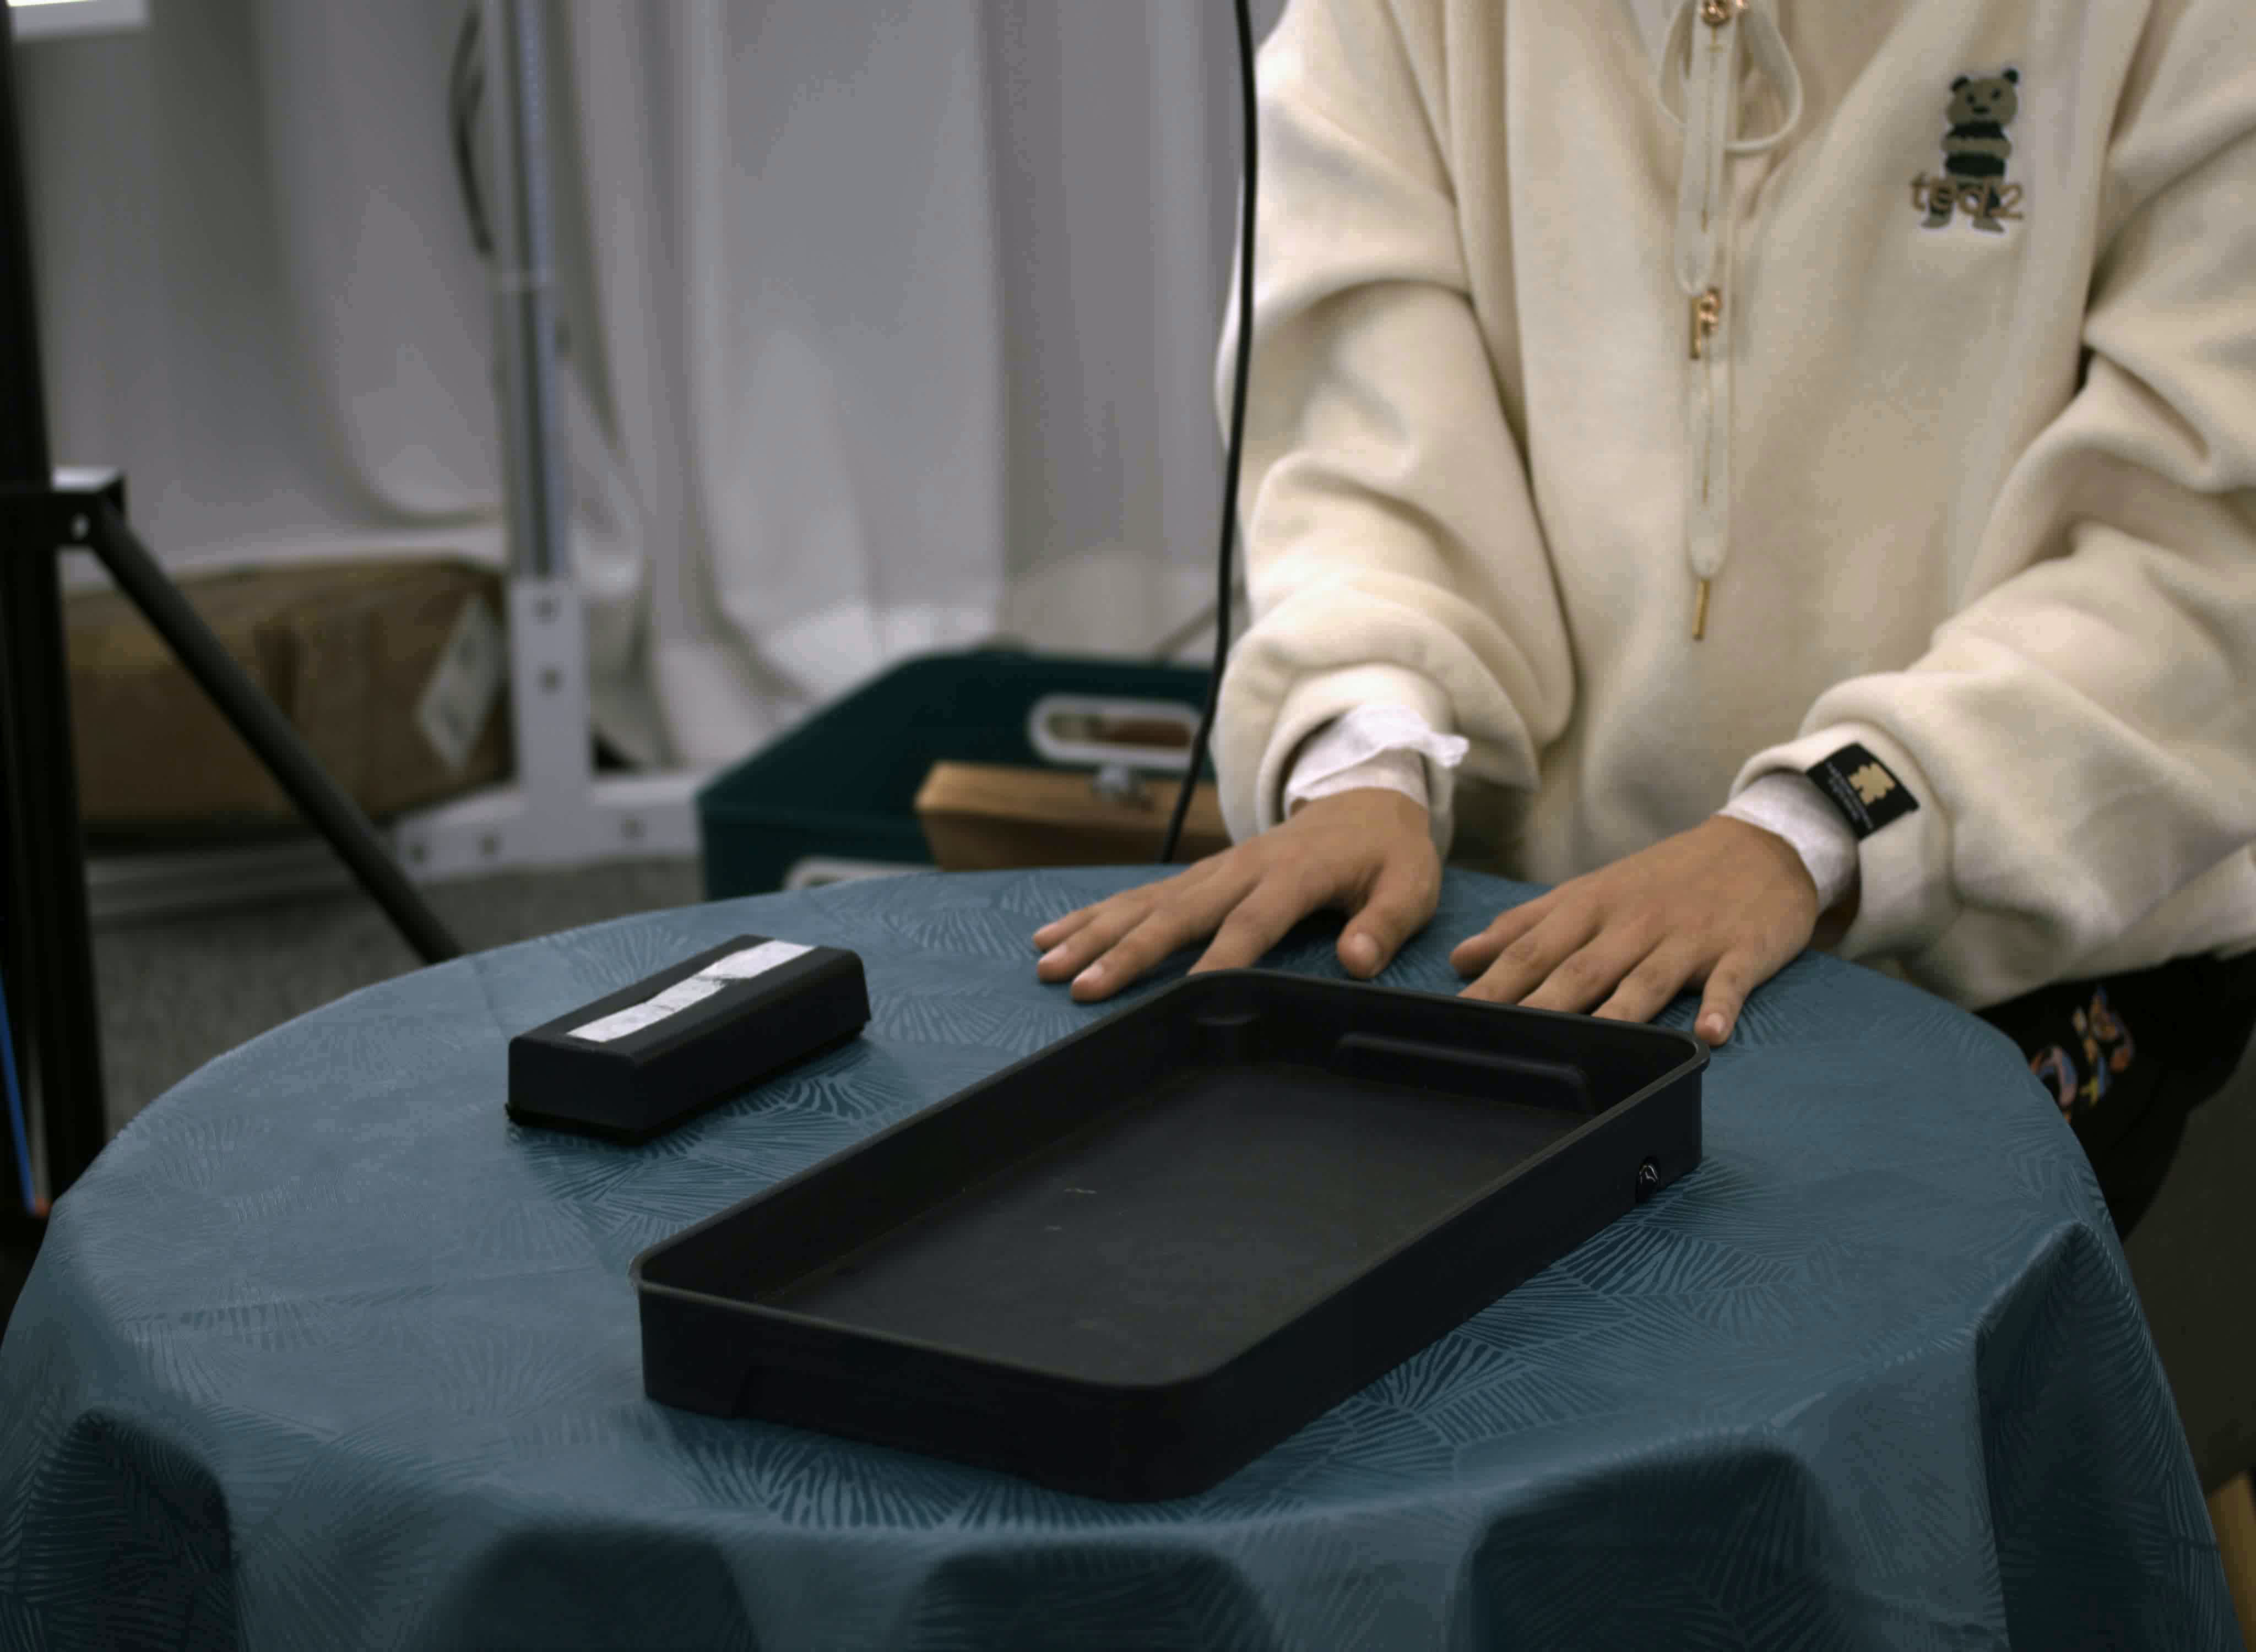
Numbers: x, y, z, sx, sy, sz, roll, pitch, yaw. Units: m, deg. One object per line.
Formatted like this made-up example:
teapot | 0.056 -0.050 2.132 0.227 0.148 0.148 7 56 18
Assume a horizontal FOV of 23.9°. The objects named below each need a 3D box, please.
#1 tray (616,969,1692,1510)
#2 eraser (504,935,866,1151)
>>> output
tray | 0.015 0.108 1.486 0.188 0.037 0.312 8 18 31
eraser | -0.138 0.067 1.674 0.054 0.030 0.123 12 20 30
